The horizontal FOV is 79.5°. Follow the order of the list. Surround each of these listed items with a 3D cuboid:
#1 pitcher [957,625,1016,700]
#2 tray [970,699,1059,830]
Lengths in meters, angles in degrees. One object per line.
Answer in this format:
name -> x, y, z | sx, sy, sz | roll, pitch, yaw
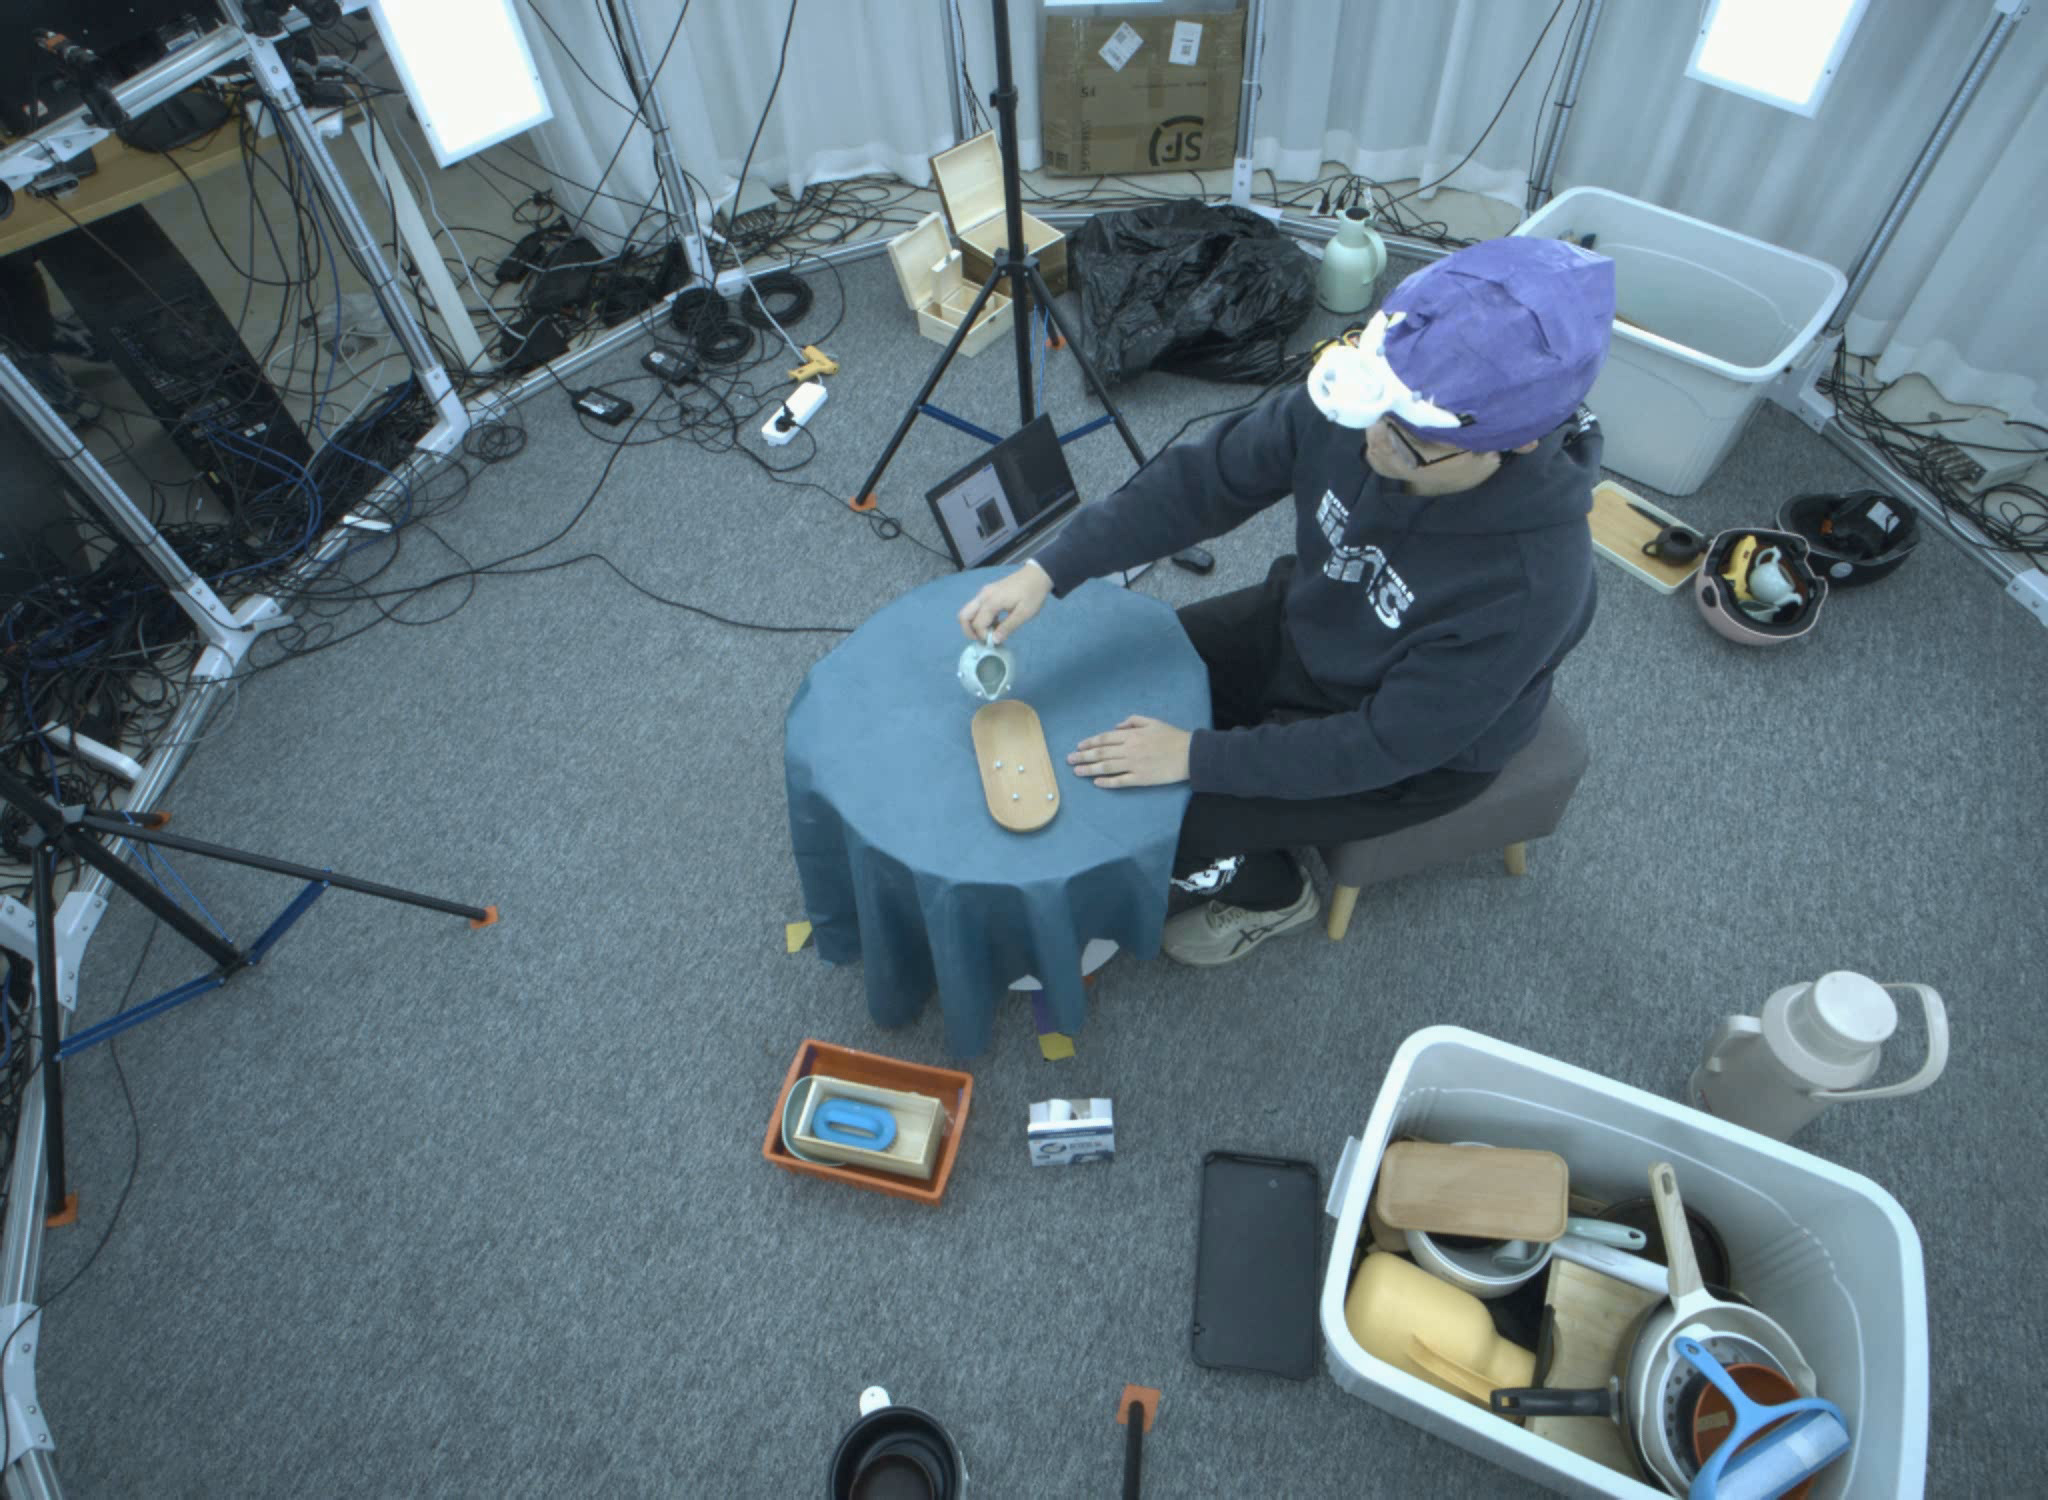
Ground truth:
pitcher -> -0.053, -0.126, 1.767 | 0.087, 0.059, 0.108 | -4, 99, -12
tray -> -0.014, 0.018, 1.766 | 0.102, 0.020, 0.227 | -10, 53, -7
